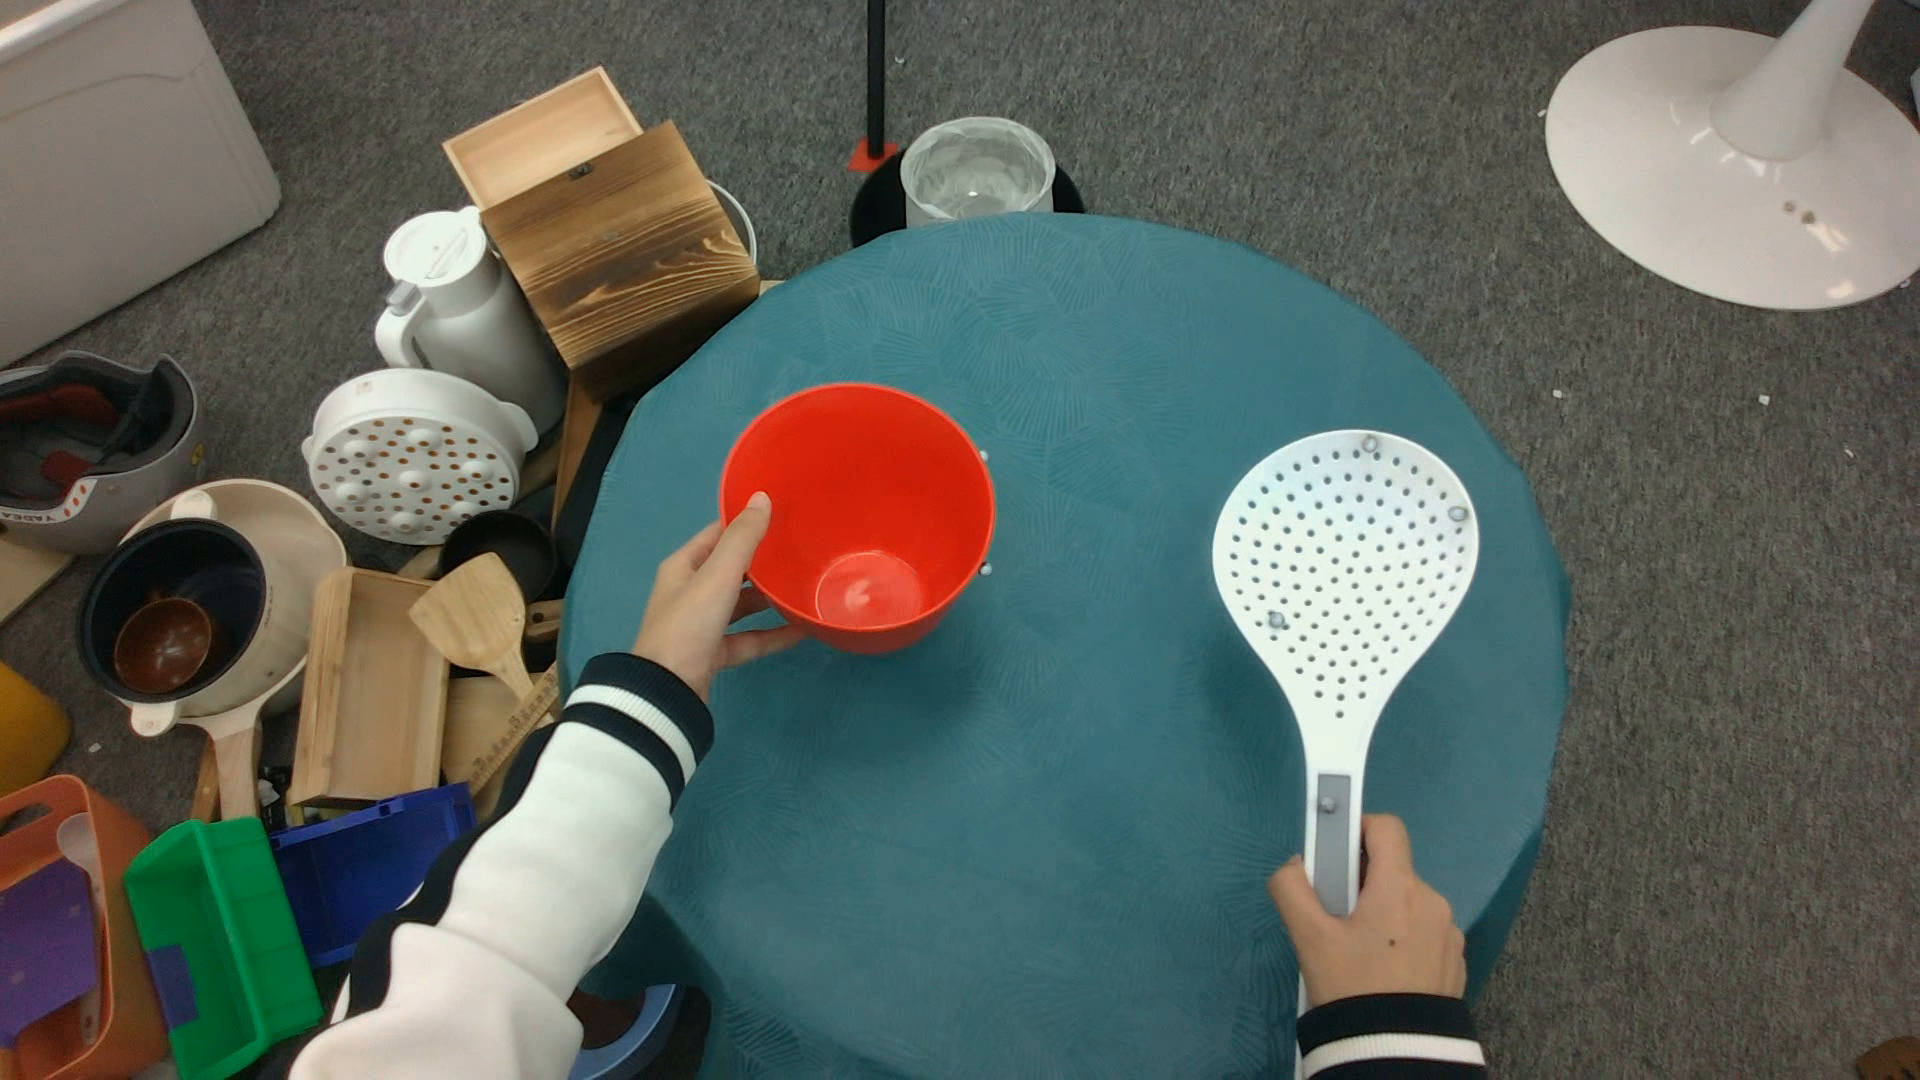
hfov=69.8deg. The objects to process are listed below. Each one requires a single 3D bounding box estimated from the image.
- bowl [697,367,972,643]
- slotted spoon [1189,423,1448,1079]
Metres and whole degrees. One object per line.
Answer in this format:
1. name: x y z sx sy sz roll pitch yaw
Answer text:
1. bowl: -0.071 -0.007 0.768 0.148 0.104 0.148 5 55 -7
2. slotted spoon: 0.179 0.100 0.704 0.136 0.045 0.351 -1 62 22
